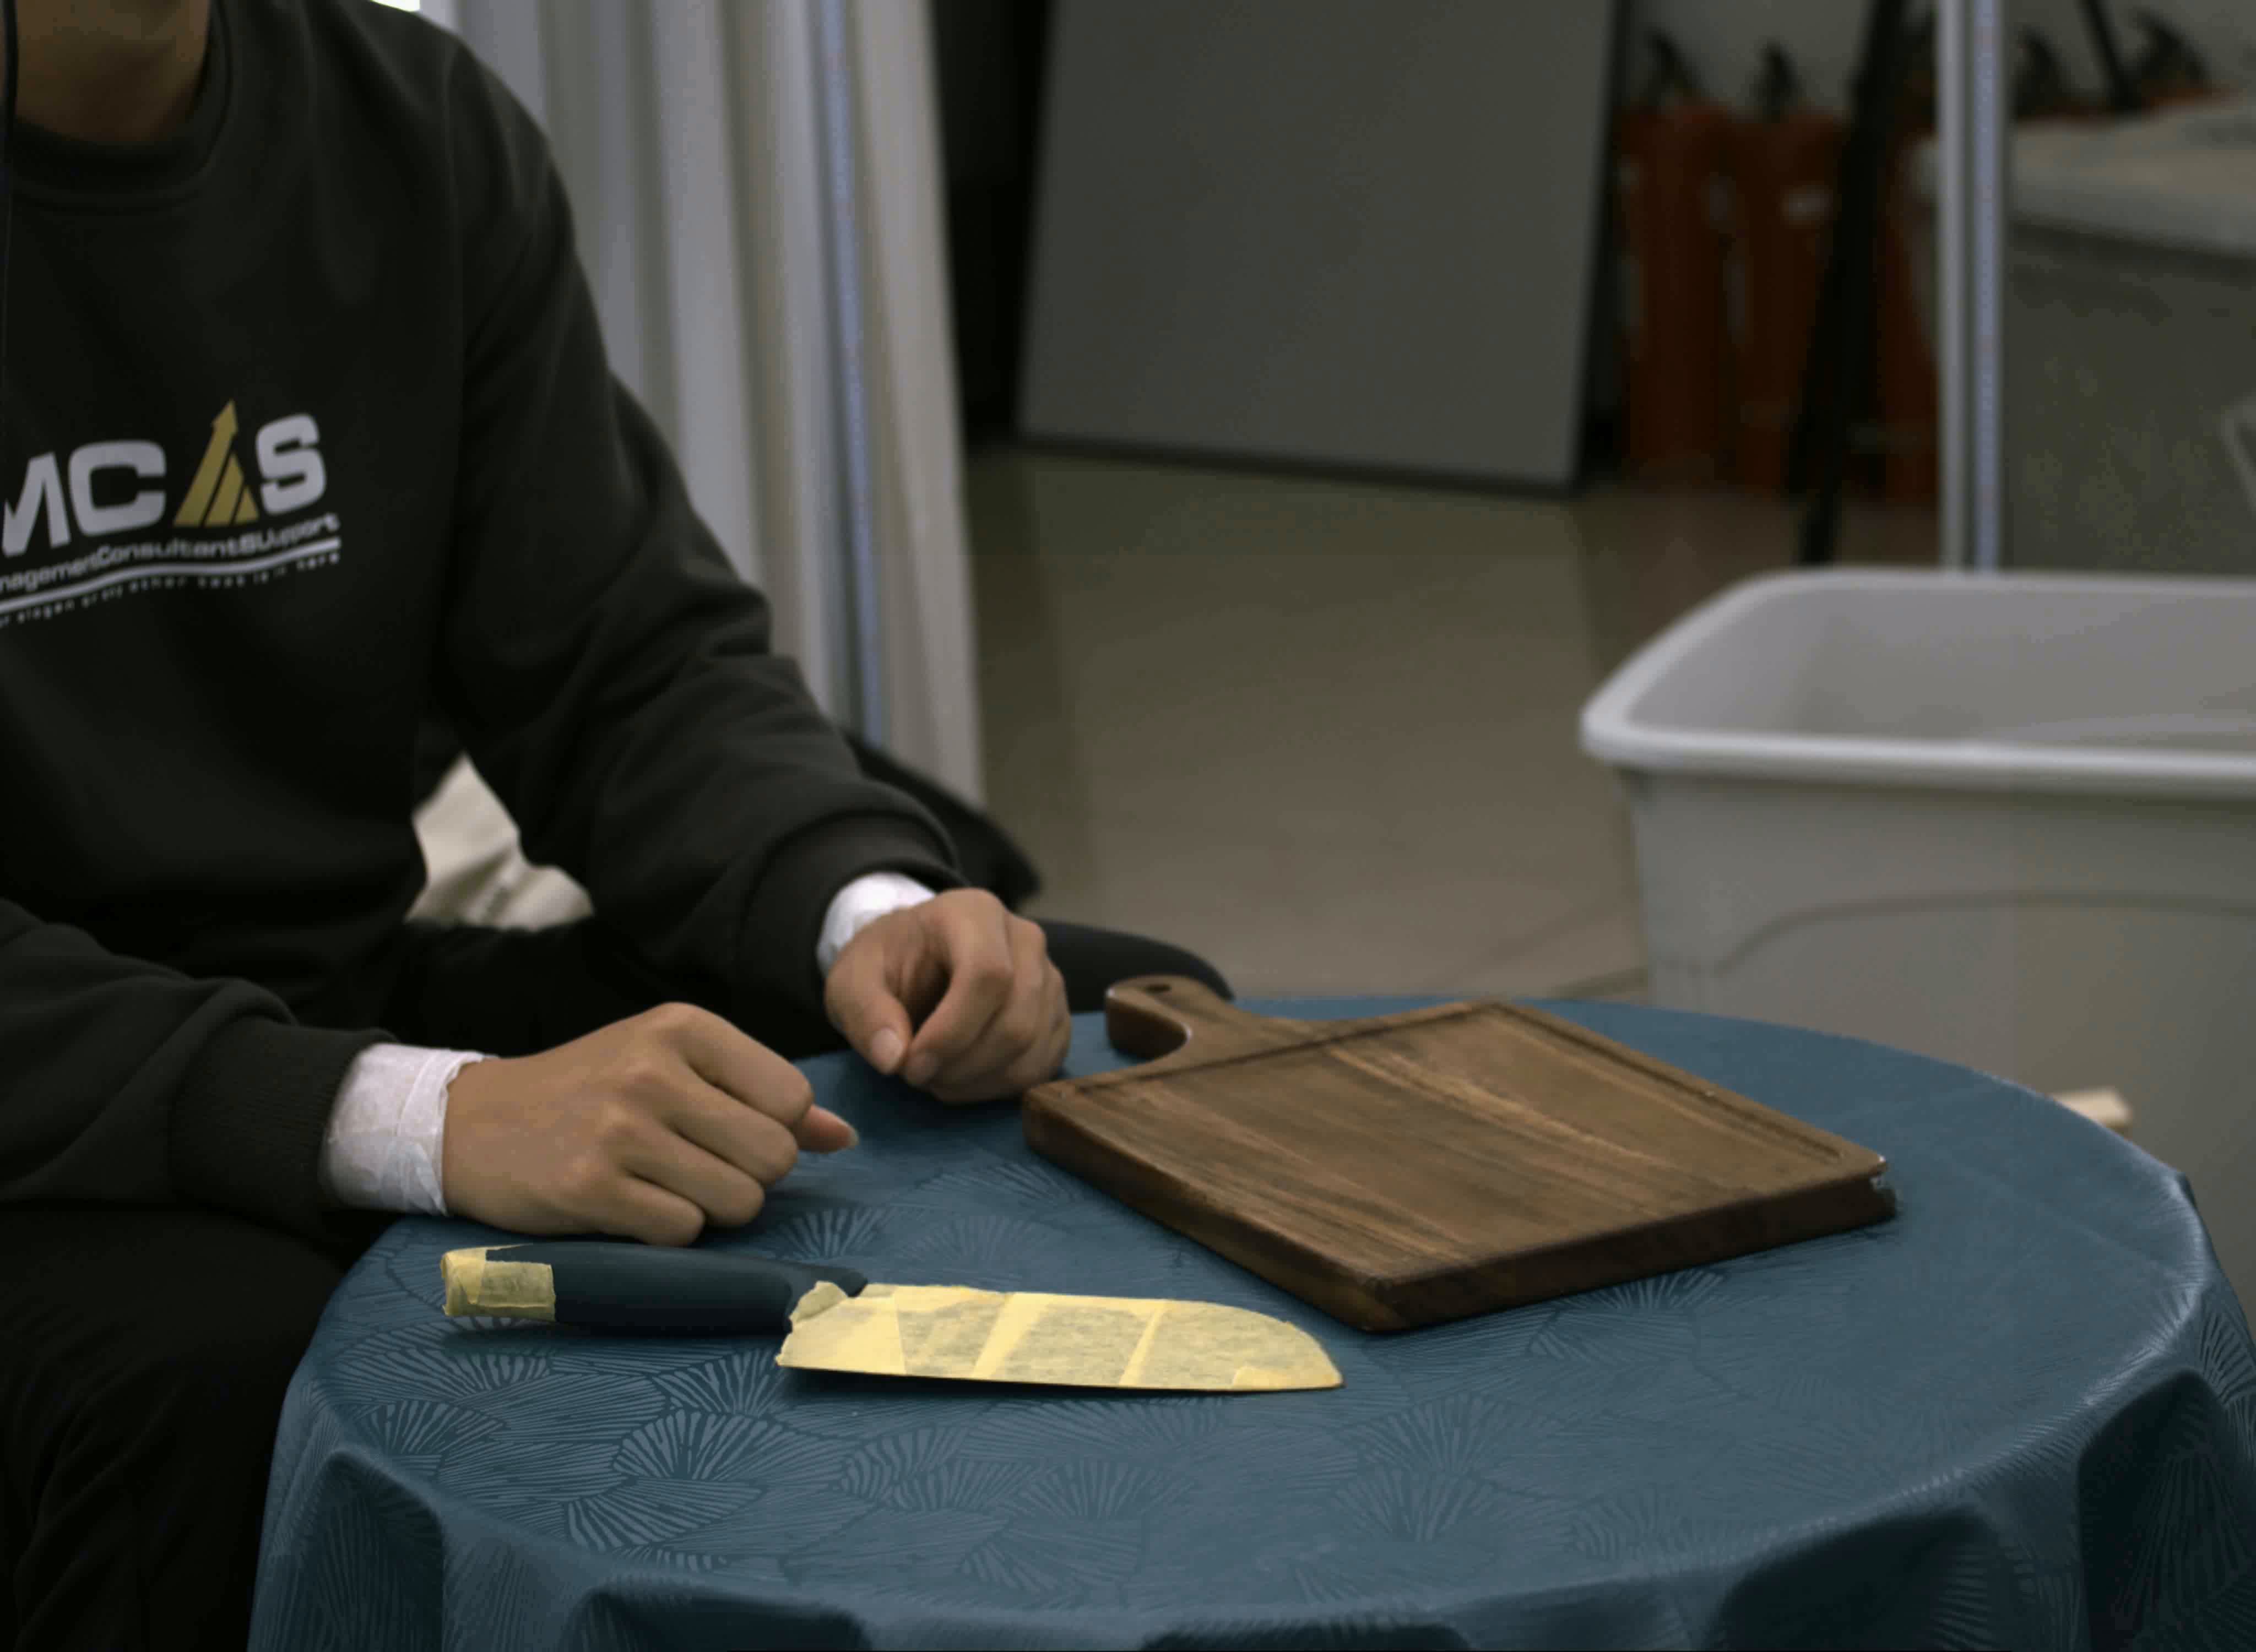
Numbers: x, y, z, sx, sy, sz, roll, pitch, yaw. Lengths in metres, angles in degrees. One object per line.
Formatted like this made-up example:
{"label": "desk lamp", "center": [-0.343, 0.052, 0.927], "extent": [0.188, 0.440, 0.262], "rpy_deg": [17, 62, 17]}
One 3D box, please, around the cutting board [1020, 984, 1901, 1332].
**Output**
{"label": "cutting board", "center": [0.082, 0.098, 1.802], "extent": [0.196, 0.023, 0.356], "rpy_deg": [-10, 14, -25]}

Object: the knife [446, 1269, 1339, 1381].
{"label": "knife", "center": [-0.075, 0.154, 1.631], "extent": [0.288, 0.027, 0.080], "rpy_deg": [0, 12, 15]}
